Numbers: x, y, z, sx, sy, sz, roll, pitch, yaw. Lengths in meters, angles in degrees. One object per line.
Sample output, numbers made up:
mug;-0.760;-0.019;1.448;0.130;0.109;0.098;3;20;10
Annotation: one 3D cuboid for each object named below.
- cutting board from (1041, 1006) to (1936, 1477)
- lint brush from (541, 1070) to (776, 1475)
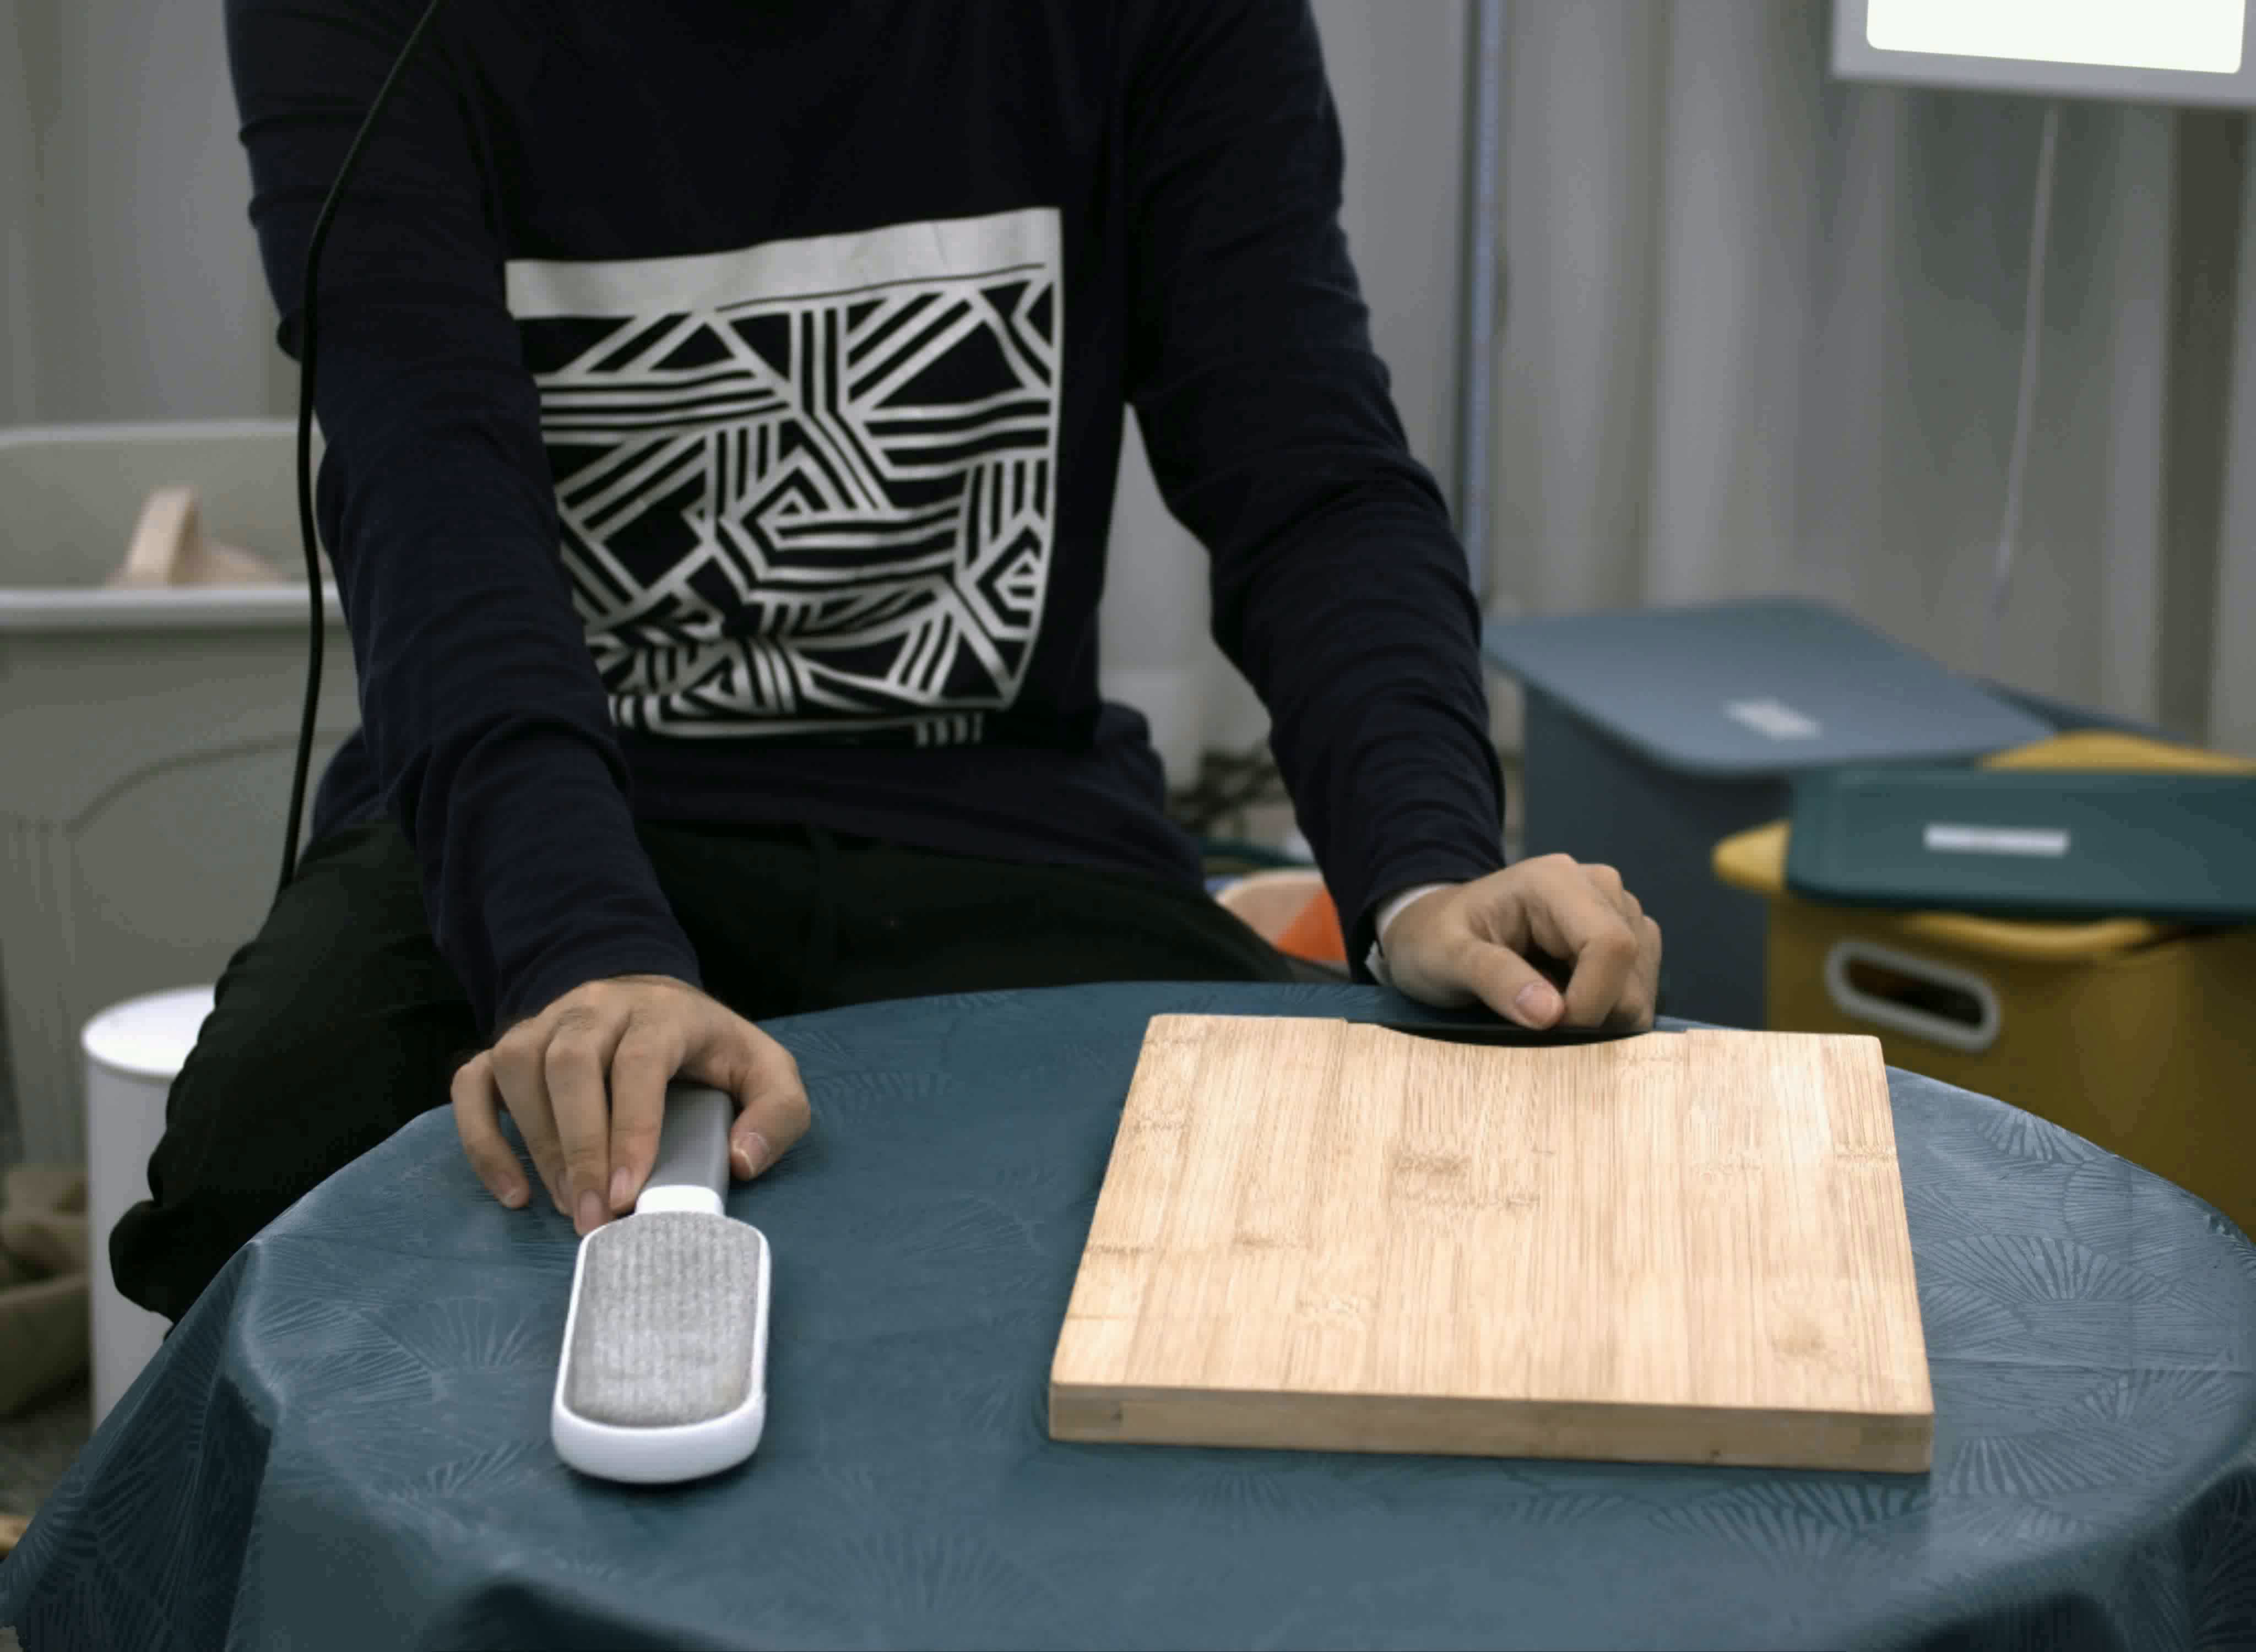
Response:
cutting board;0.113;0.117;1.582;0.249;0.024;0.347;2;15;4
lint brush;-0.131;0.124;1.526;0.060;0.021;0.307;-5;15;-1
